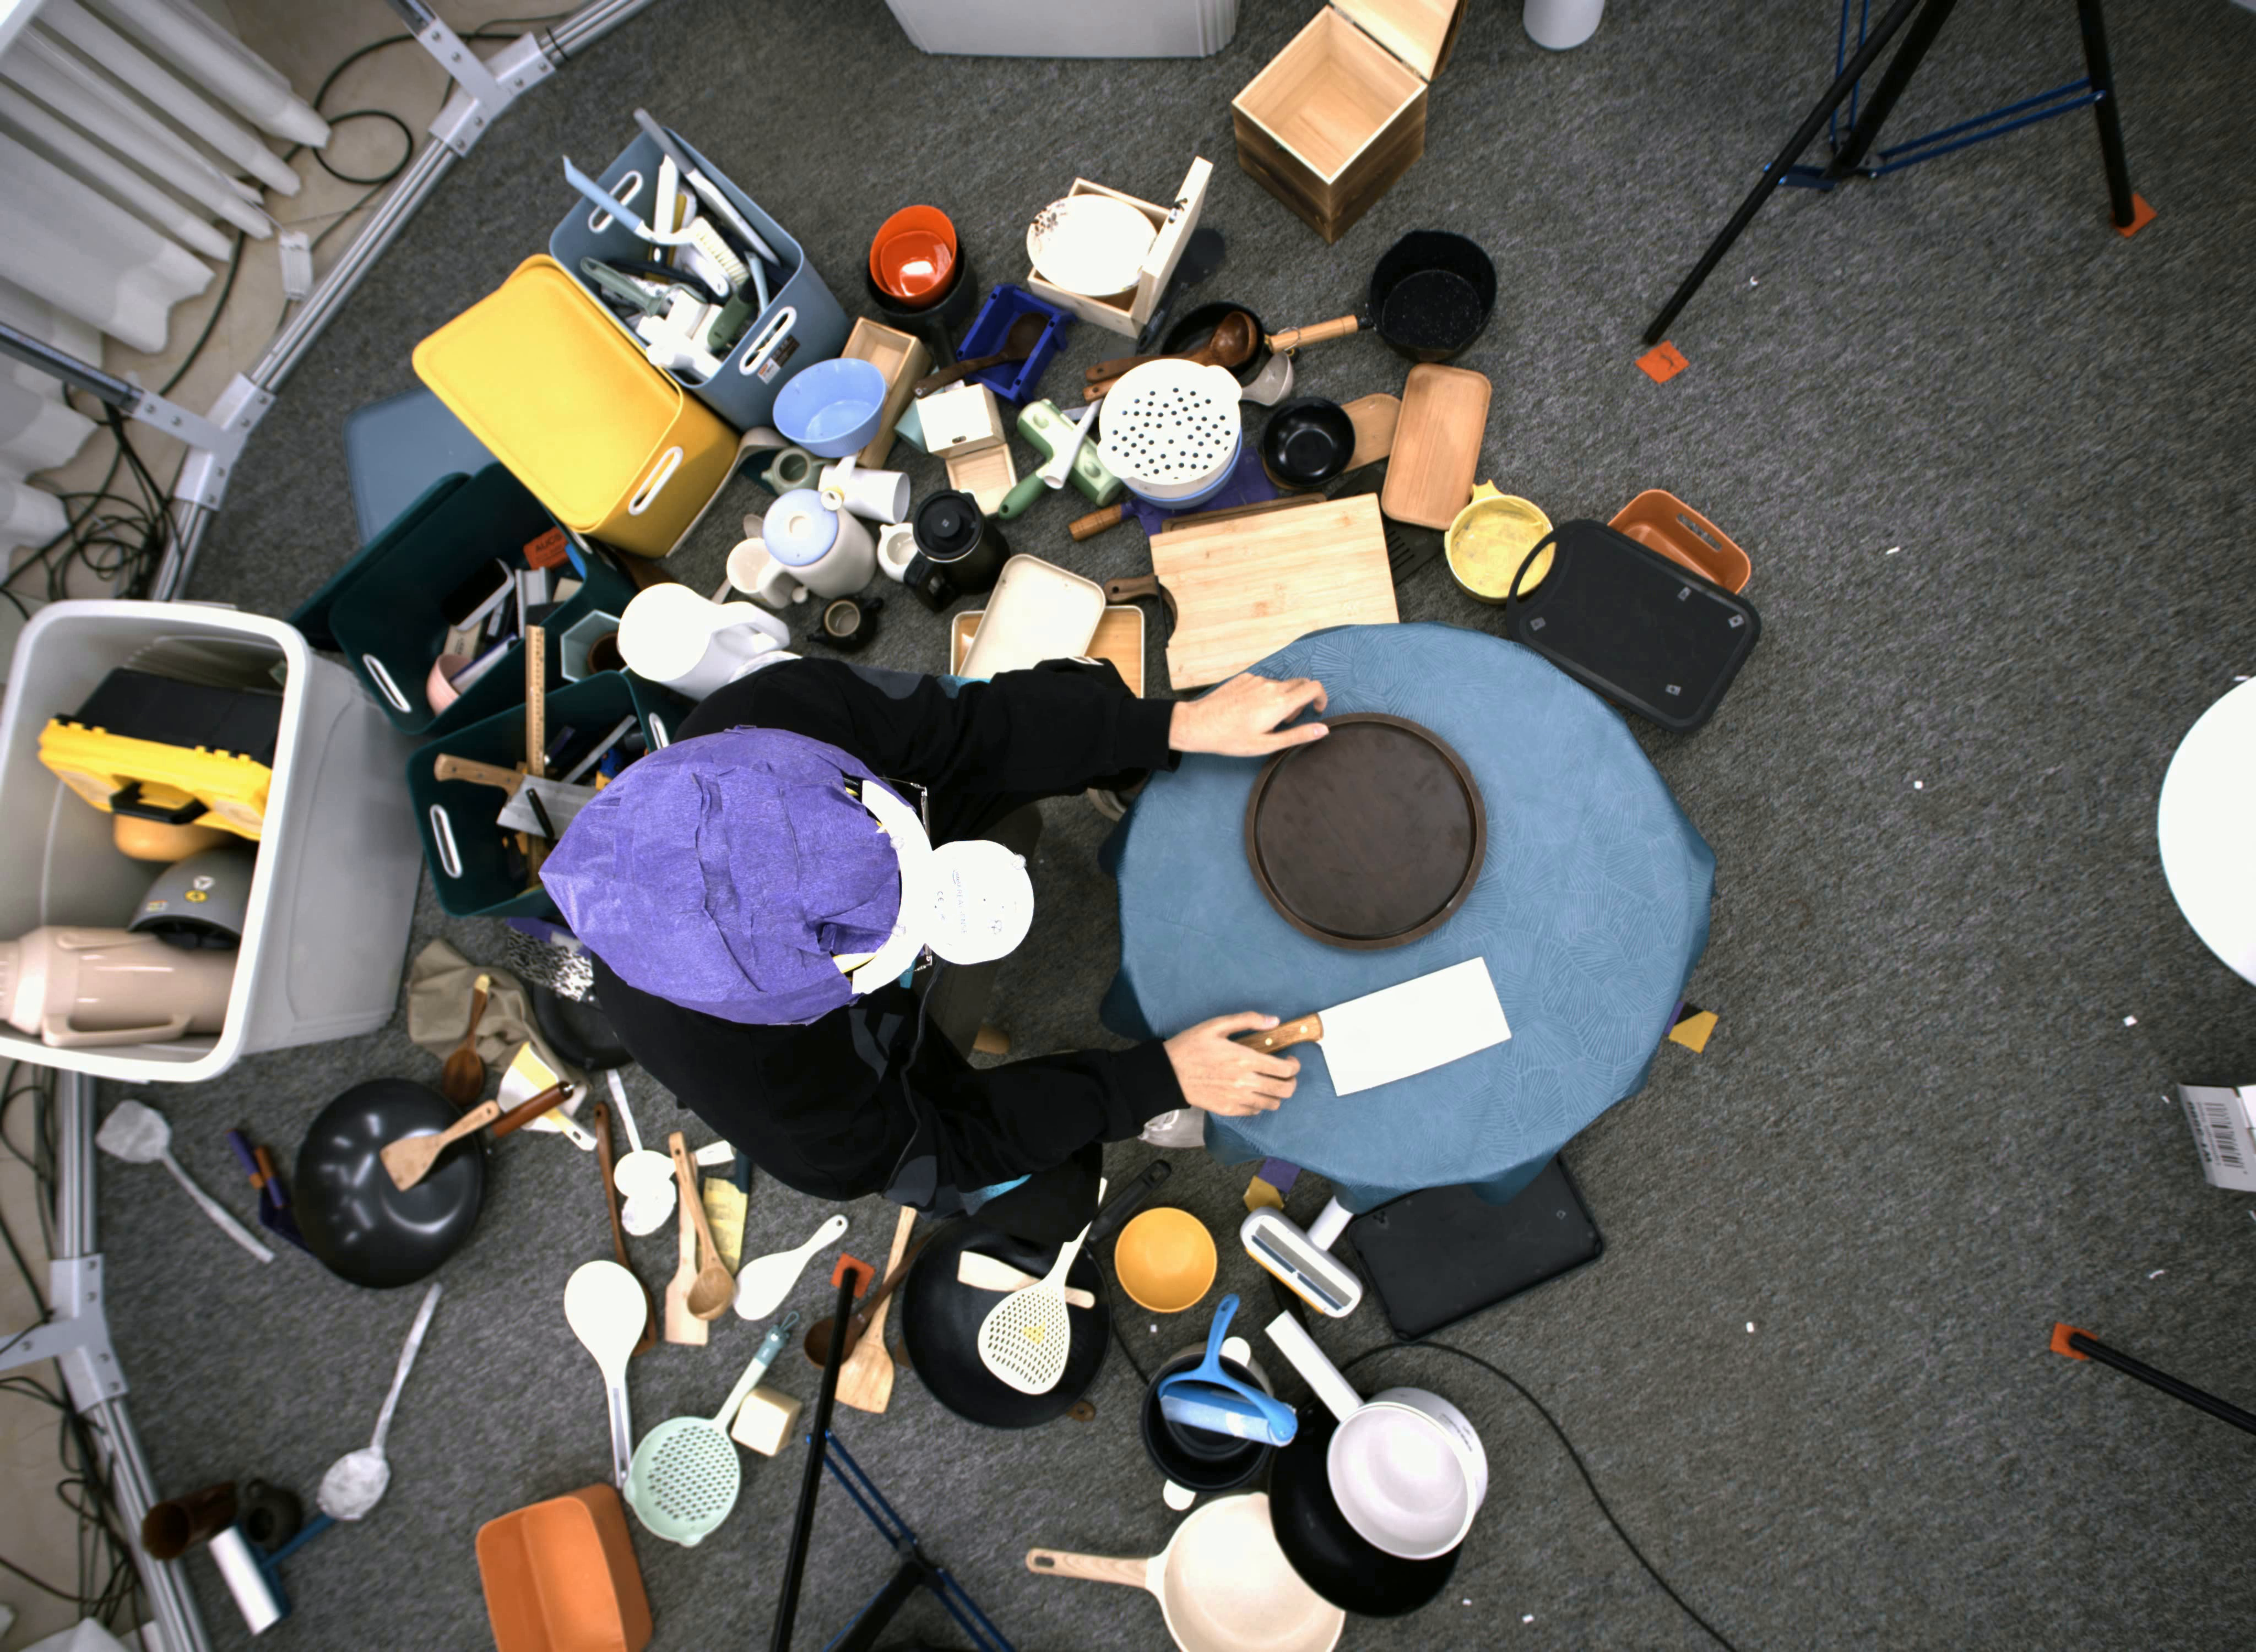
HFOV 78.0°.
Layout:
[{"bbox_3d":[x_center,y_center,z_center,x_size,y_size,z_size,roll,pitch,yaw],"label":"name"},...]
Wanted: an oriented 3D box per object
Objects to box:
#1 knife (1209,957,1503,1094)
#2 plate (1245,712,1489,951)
[{"bbox_3d":[0.240,0.225,1.449,0.307,0.021,0.092,-20,85,7],"label":"knife"},{"bbox_3d":[0.250,0.005,1.455,0.256,0.029,0.254,-1,88,9],"label":"plate"}]
